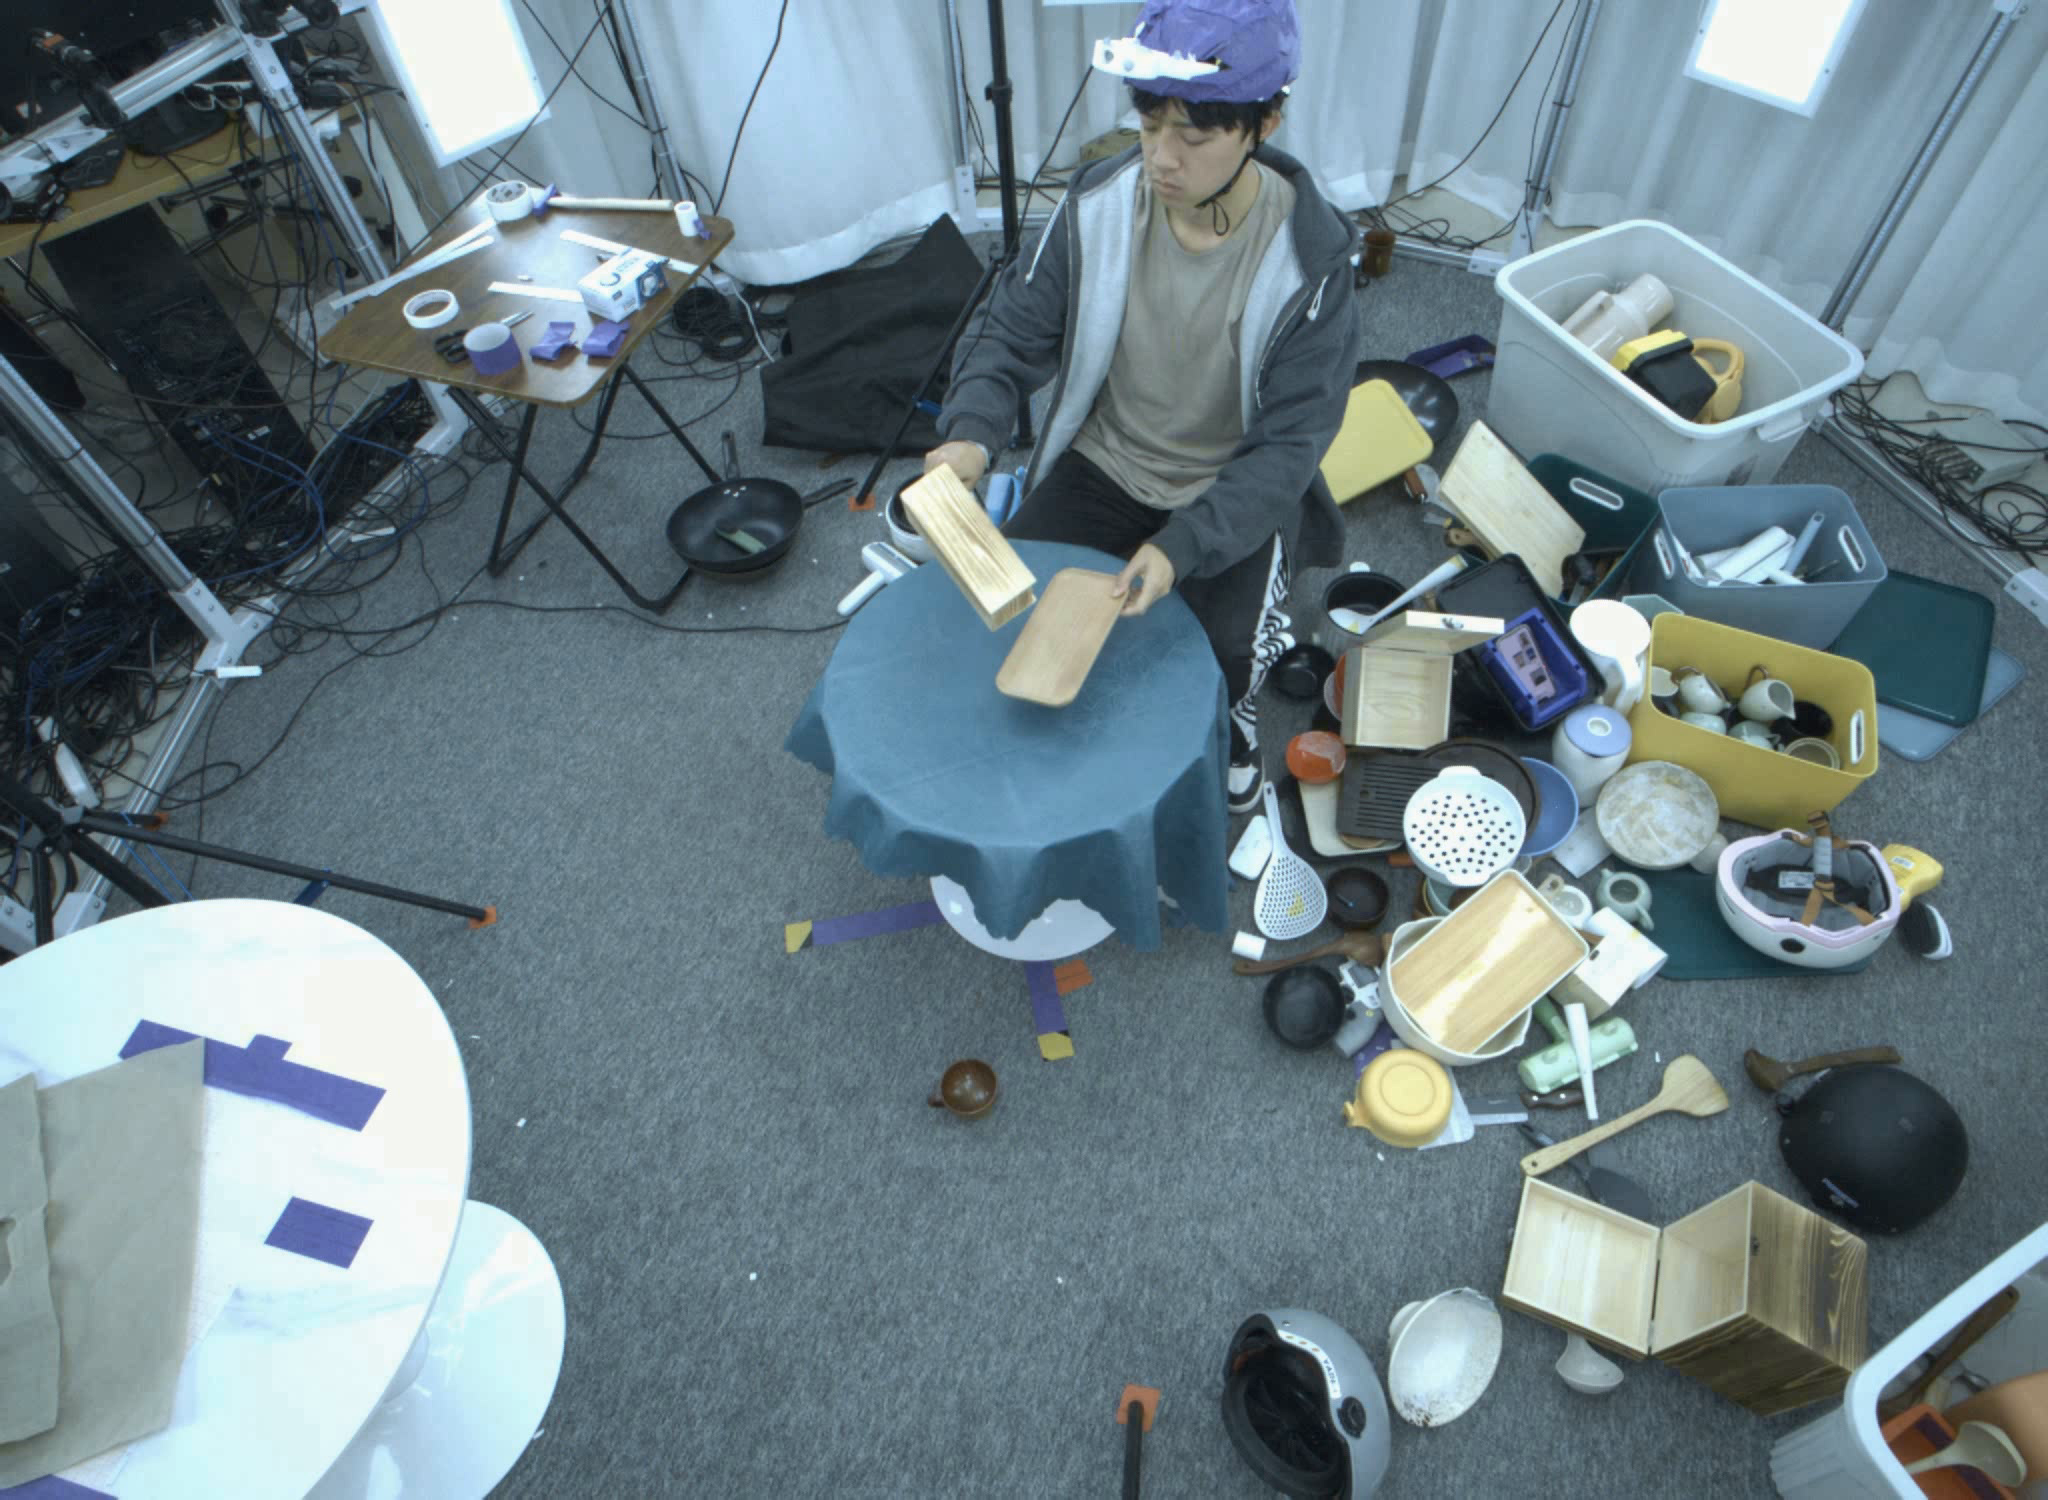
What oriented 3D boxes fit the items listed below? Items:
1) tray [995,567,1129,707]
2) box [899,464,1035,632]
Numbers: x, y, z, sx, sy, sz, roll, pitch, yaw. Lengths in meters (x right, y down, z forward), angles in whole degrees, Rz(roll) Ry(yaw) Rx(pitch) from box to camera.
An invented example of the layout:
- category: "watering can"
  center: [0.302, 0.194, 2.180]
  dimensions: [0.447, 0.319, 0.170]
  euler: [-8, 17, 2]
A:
- category: "tray"
  center: [0.058, -0.169, 1.808]
  dimensions: [0.128, 0.023, 0.251]
  euler: [17, 61, 20]
- category: "box"
  center: [-0.079, -0.281, 1.710]
  dimensions: [0.080, 0.108, 0.210]
  euler: [-37, 85, -4]
